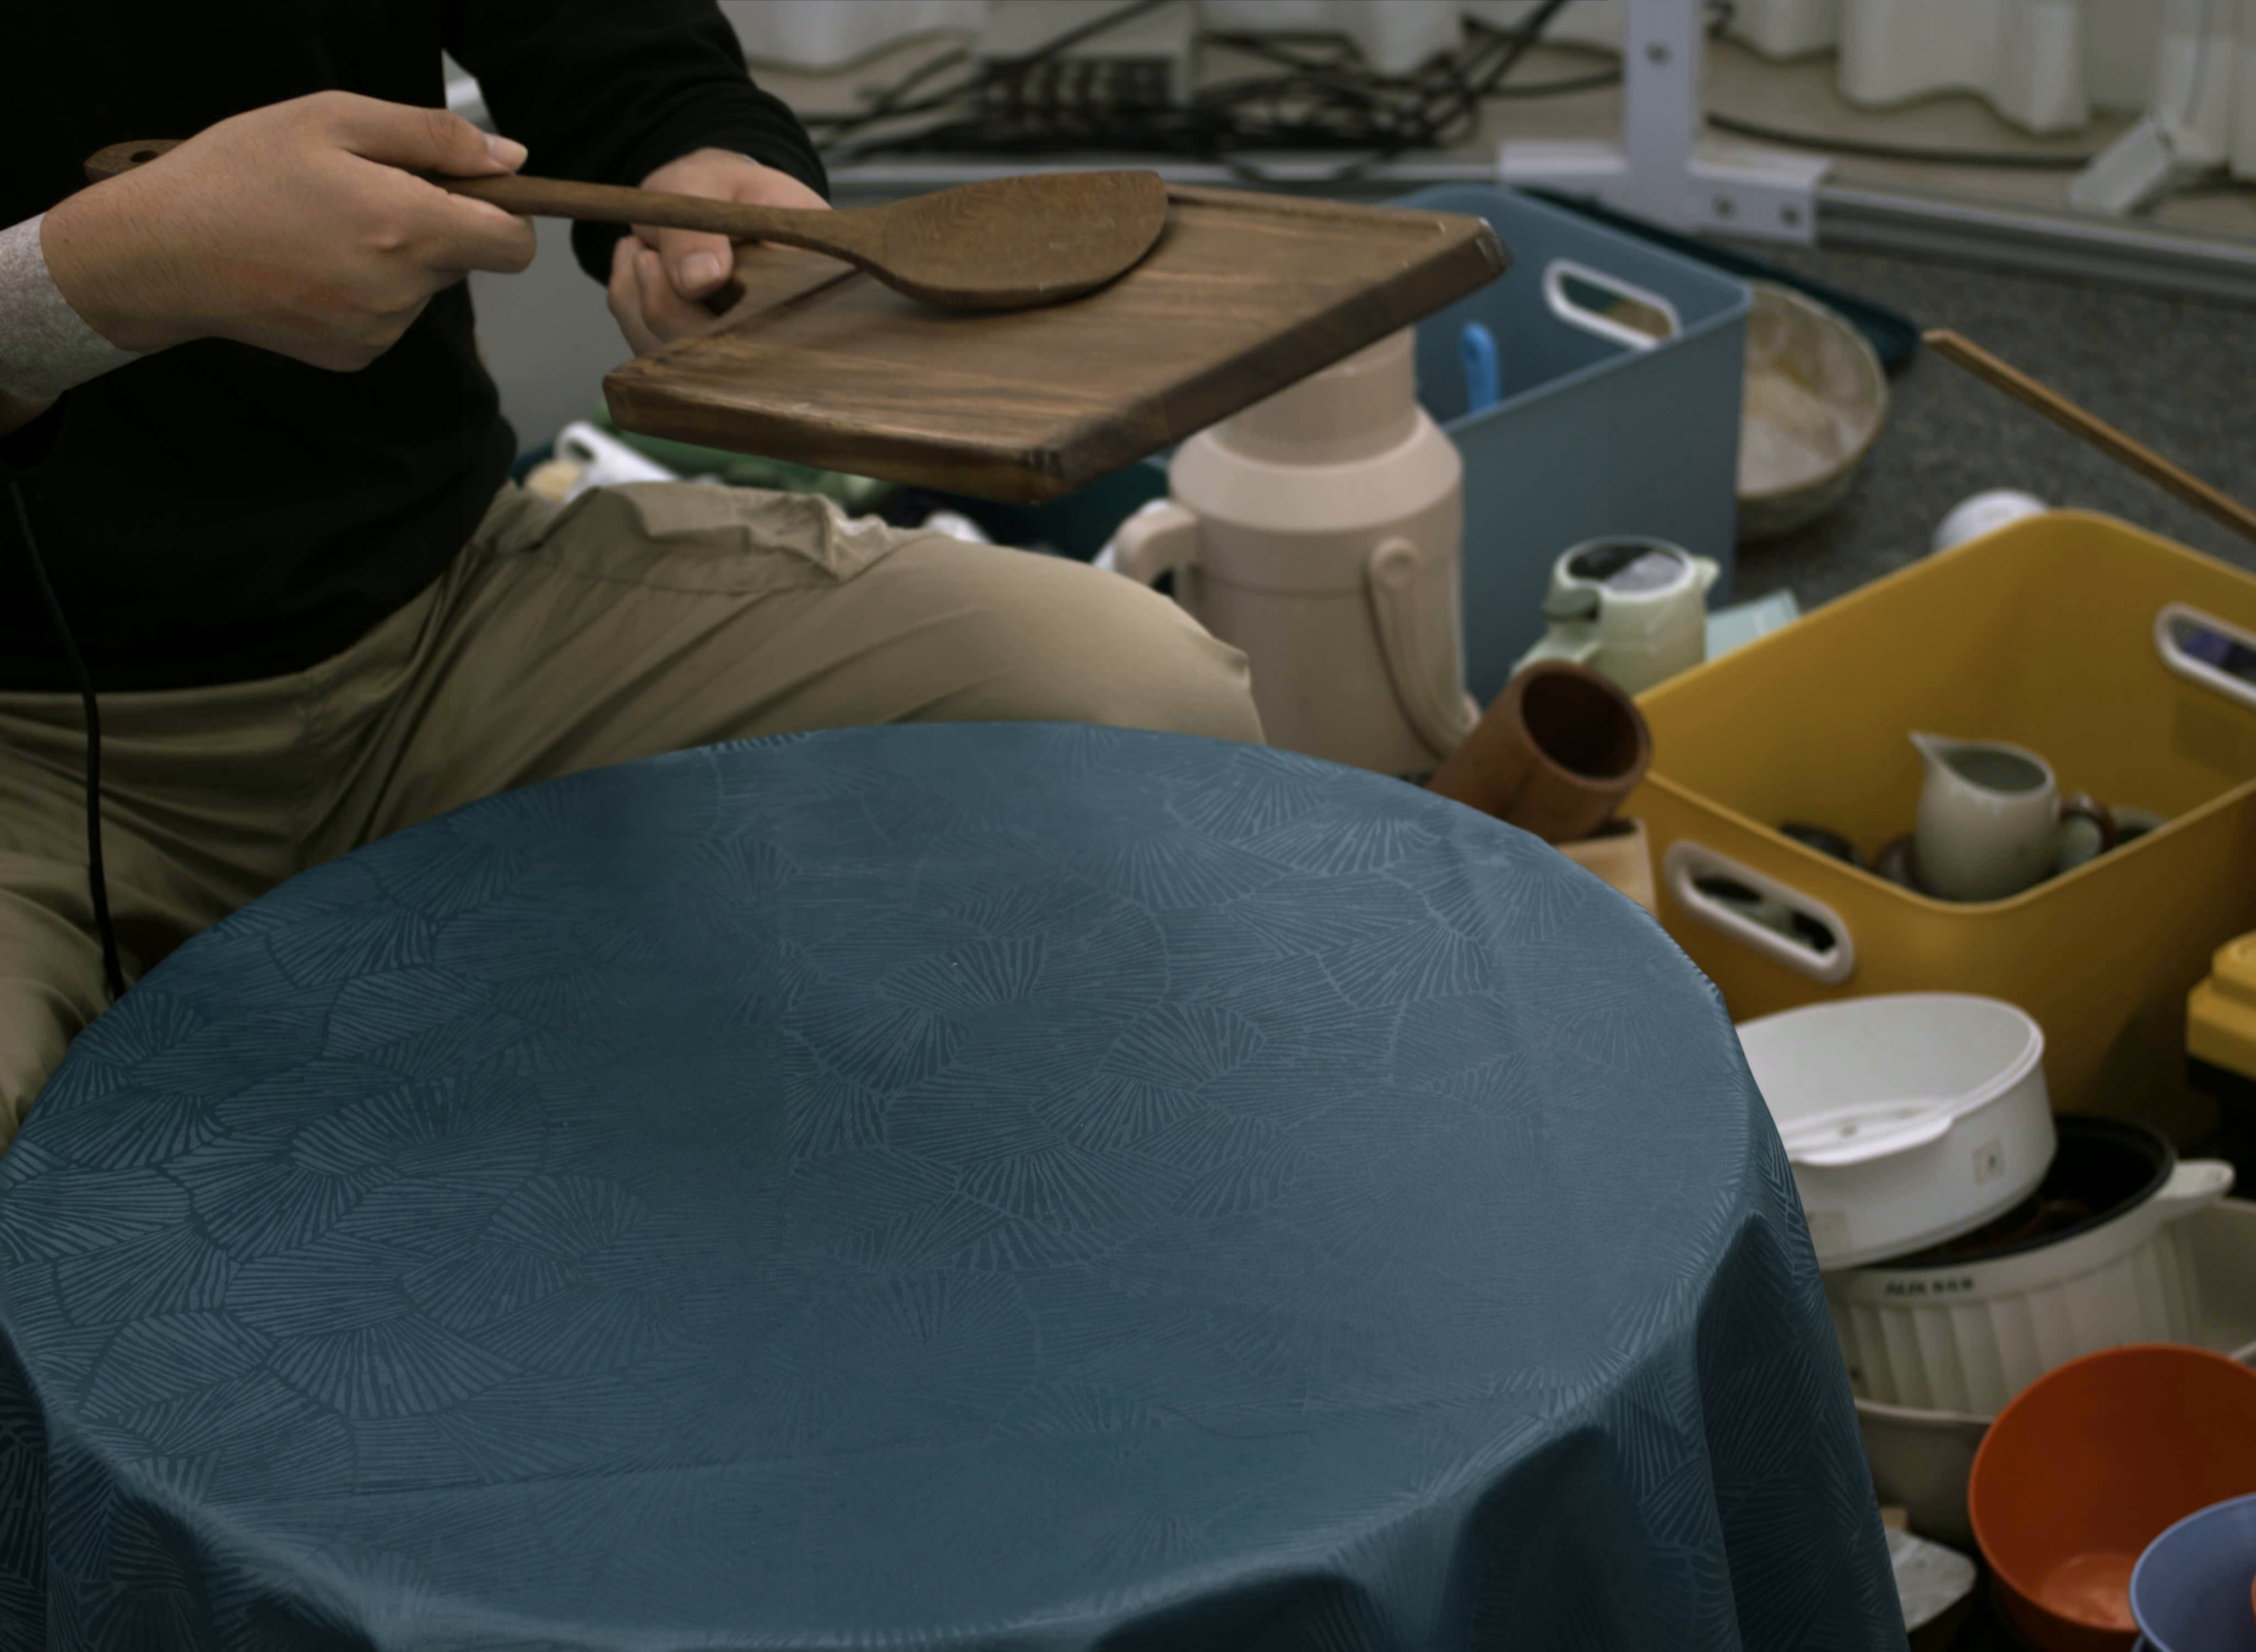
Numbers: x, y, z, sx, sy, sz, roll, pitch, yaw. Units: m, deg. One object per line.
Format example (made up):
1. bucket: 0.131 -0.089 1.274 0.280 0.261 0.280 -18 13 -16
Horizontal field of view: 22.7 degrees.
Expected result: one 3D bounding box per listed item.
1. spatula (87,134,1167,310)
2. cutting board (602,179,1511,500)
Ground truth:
1. spatula: -0.175 -0.209 1.903 0.383 0.015 0.098 7 32 14
2. cutting board: -0.056 -0.169 1.861 0.203 0.023 0.350 -27 24 -31
